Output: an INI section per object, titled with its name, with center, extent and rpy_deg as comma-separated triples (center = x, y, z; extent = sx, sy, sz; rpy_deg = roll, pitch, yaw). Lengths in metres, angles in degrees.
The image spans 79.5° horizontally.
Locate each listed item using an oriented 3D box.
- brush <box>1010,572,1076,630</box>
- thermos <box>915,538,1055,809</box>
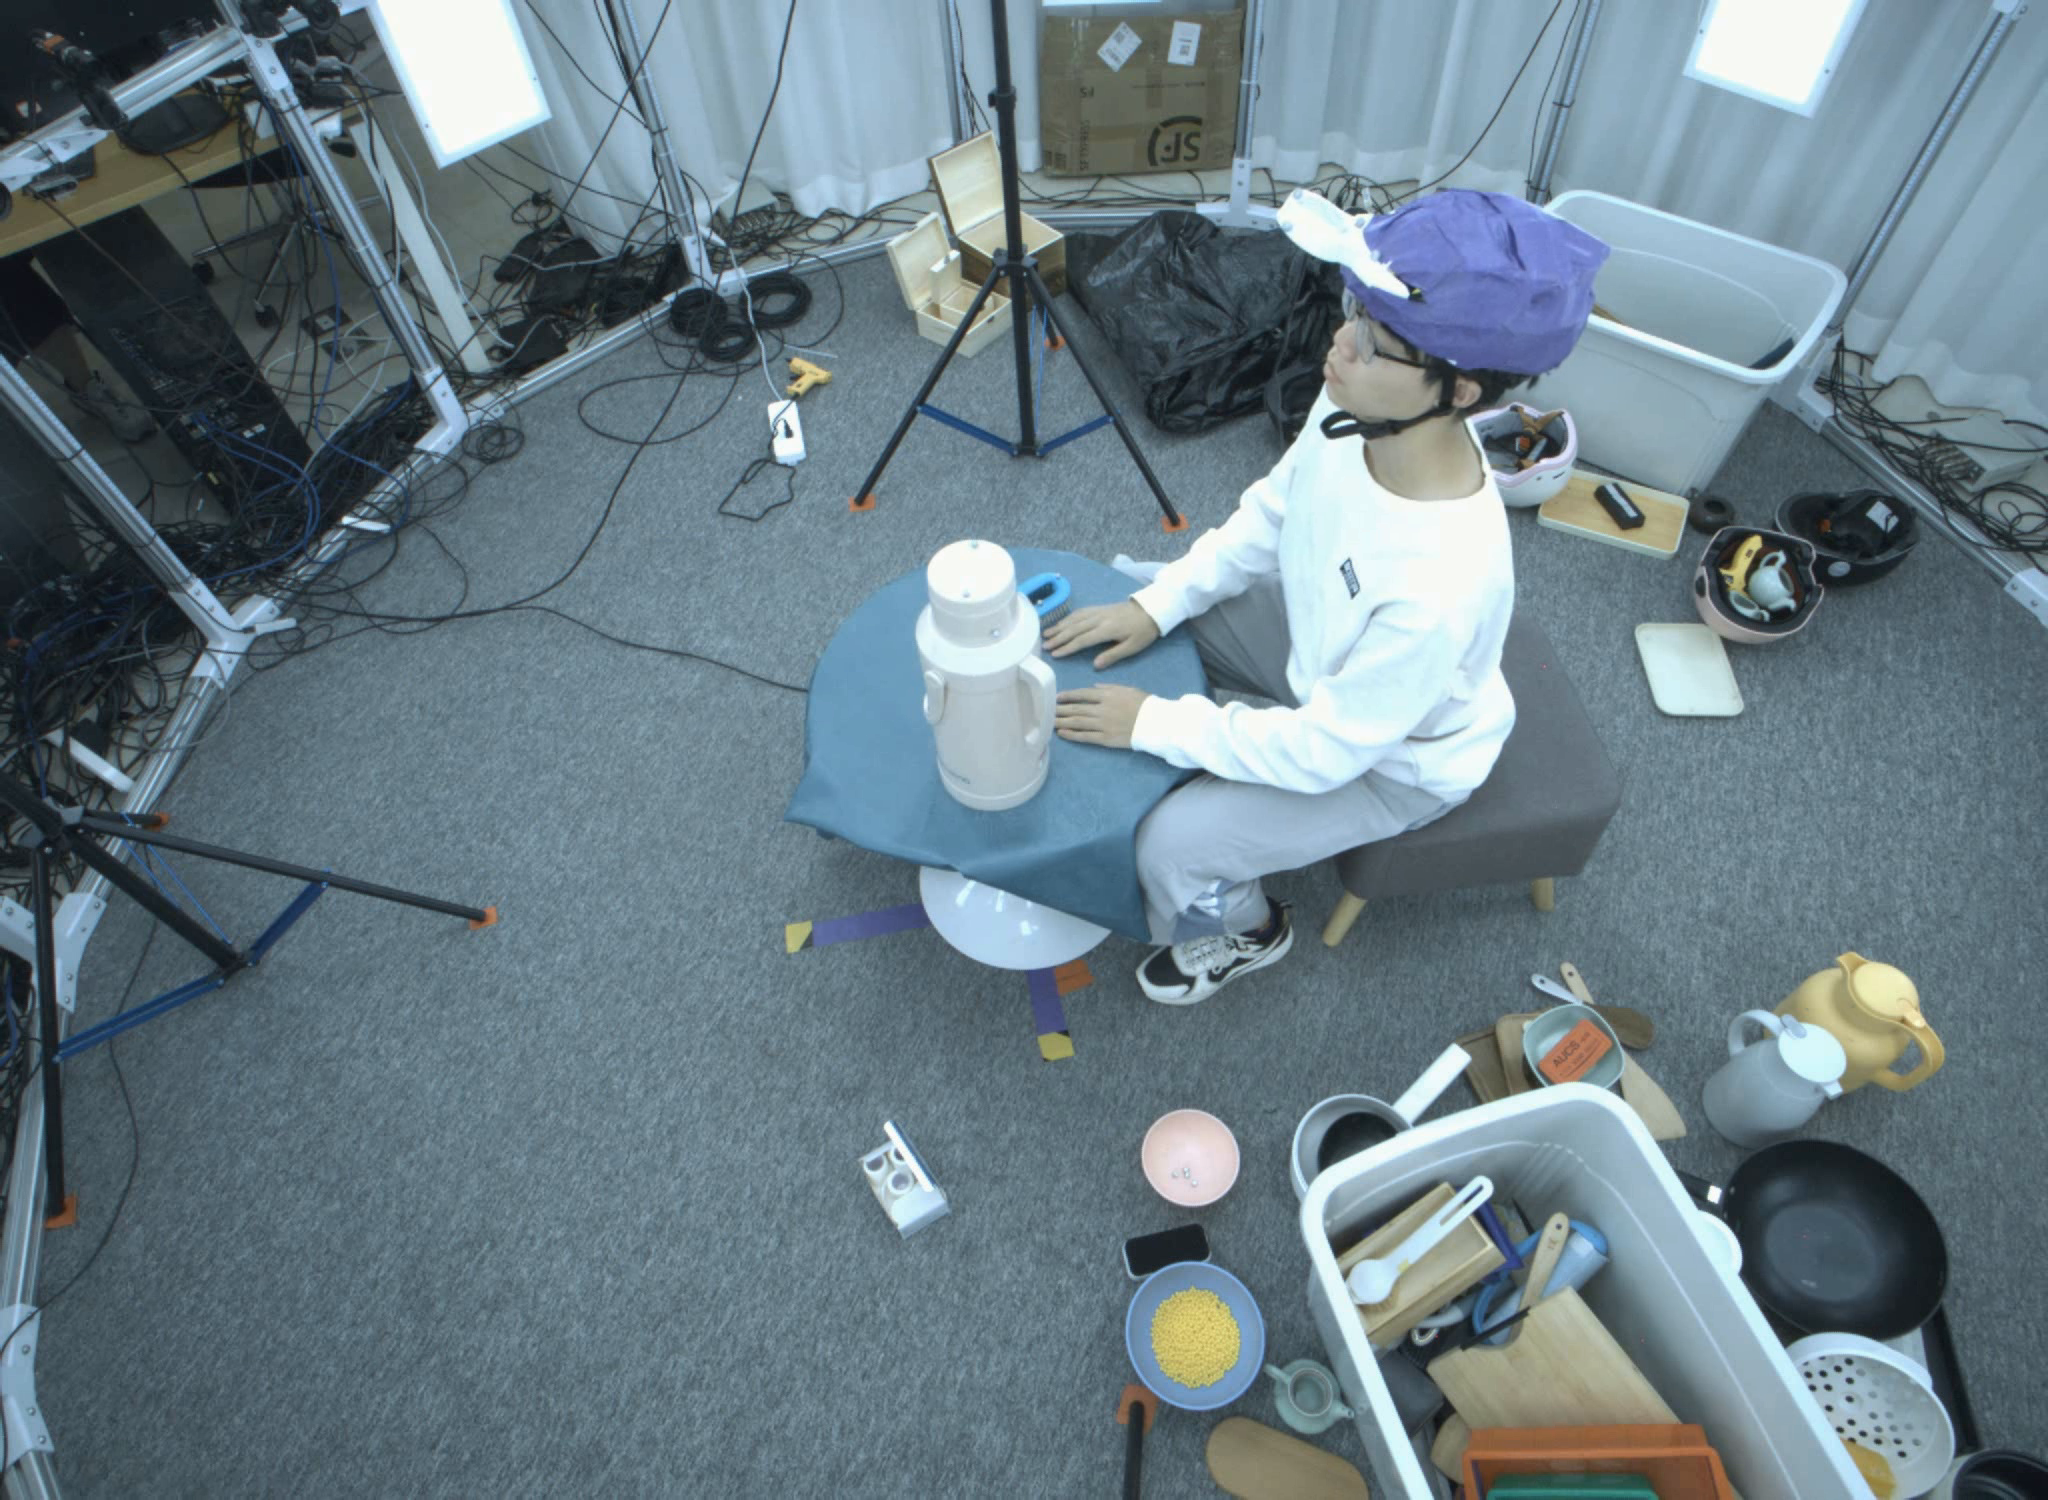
[brush]
center = 0.013, -0.237, 1.914
extent = 0.143, 0.064, 0.082
rpy_deg = -31, 54, -20
[thermos]
center = -0.045, -0.088, 1.603
extent = 0.203, 0.410, 0.176
rpy_deg = 32, 61, 23
